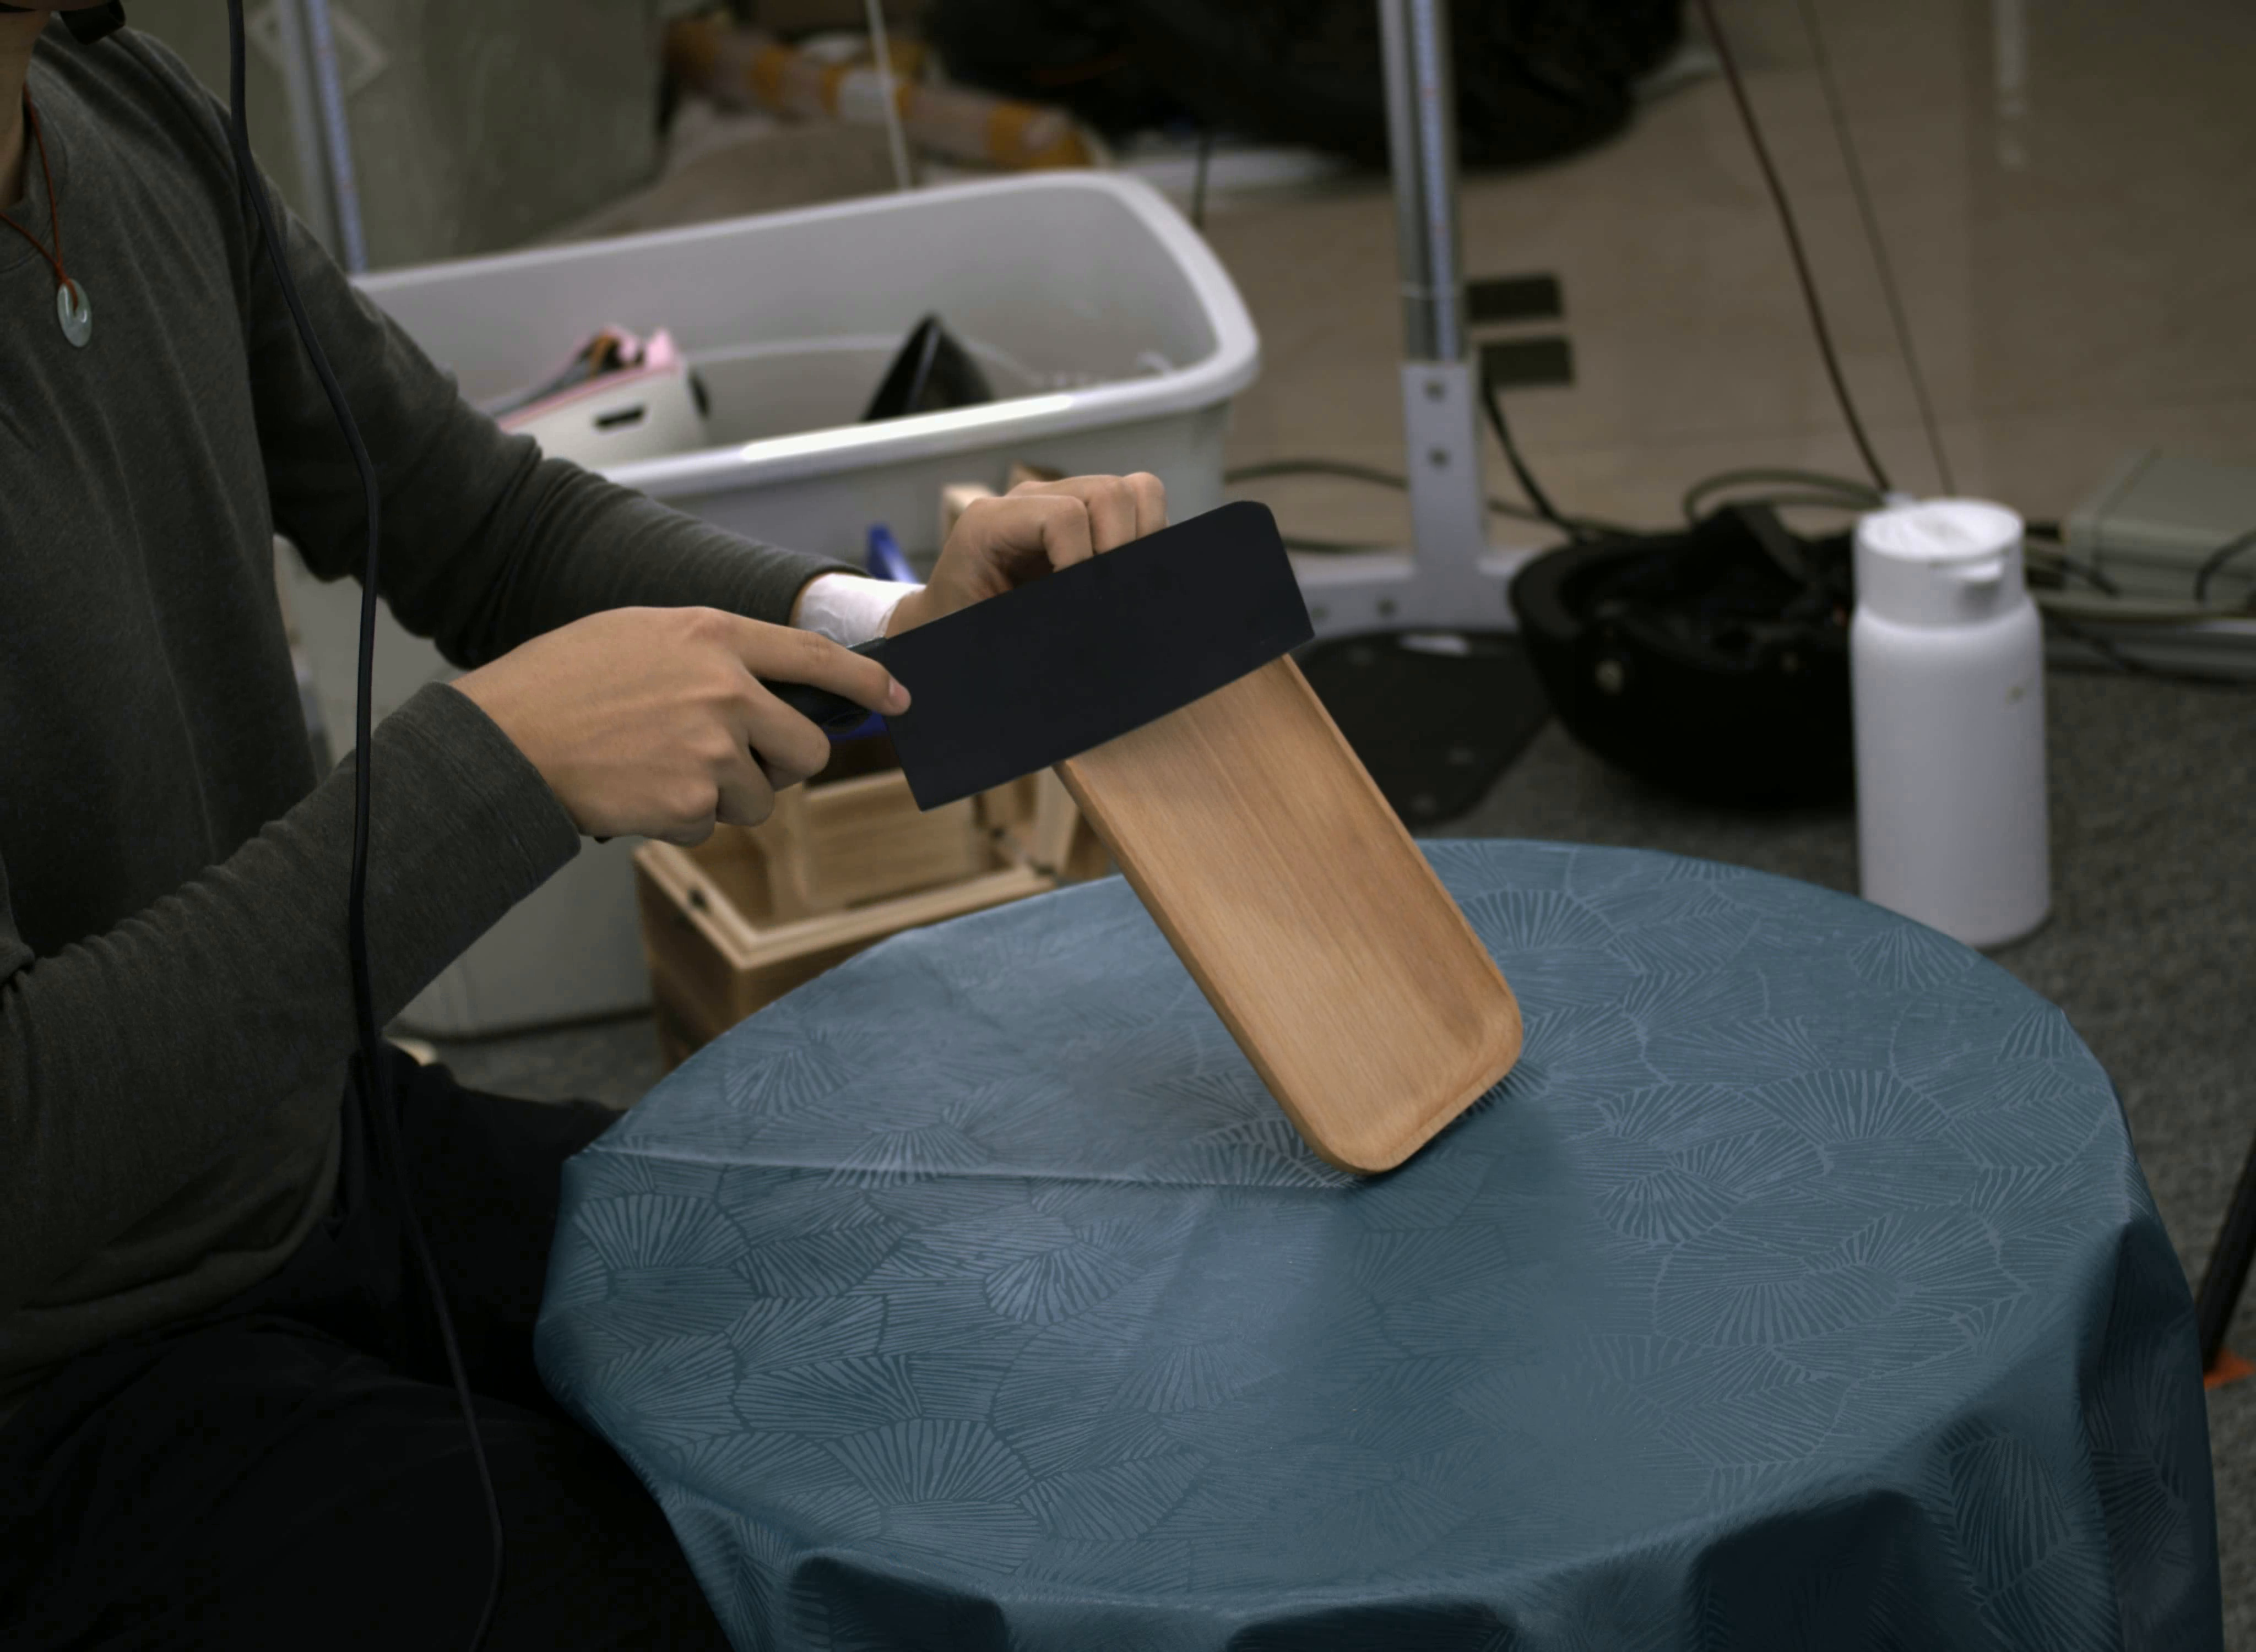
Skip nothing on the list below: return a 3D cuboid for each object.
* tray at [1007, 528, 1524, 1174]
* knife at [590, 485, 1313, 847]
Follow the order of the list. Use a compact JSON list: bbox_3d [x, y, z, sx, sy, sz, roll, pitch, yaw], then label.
[{"bbox_3d":[0.051,0.009,2.161,0.129,0.251,0.023,-36,4,-43],"label":"tray"},{"bbox_3d":[-0.064,-0.050,2.092,0.301,0.081,0.021,-19,5,-25],"label":"knife"}]
